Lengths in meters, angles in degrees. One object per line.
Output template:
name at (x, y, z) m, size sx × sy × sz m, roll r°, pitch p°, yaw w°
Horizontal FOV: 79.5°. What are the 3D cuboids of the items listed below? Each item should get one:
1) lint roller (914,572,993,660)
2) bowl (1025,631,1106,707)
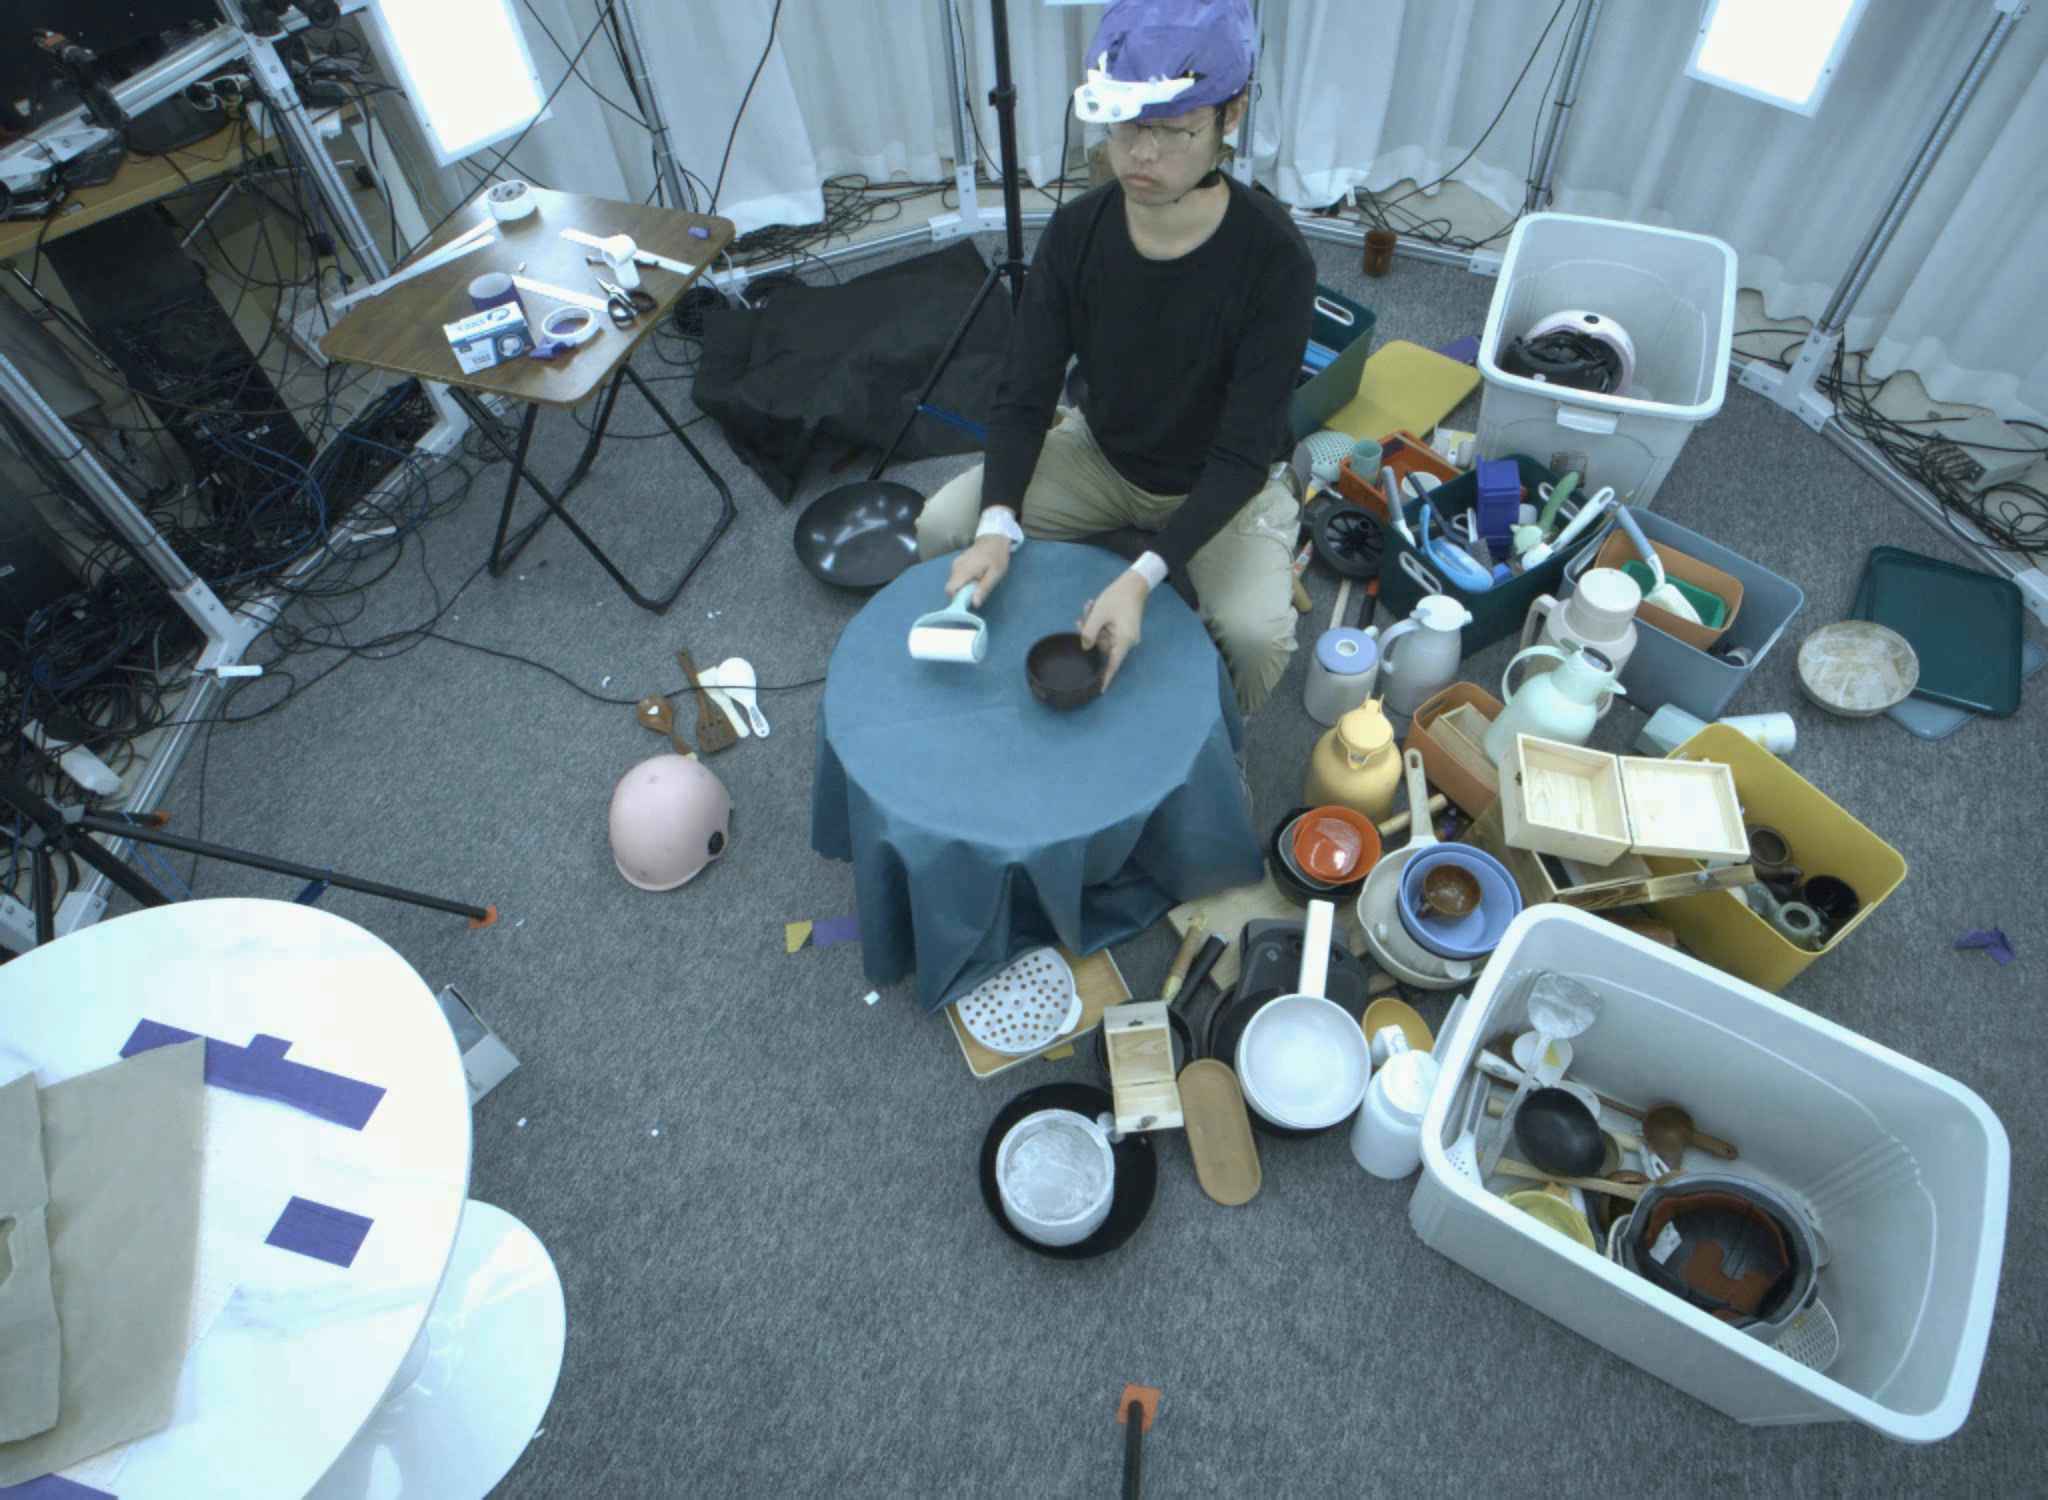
lint roller at (-0.087, -0.214, 1.869) m, size 0.115 × 0.049 × 0.197 m, roll 4°, pitch 51°, yaw 20°
bowl at (0.062, -0.111, 1.820) m, size 0.118 × 0.070 × 0.117 m, roll -1°, pitch 54°, yaw 3°
